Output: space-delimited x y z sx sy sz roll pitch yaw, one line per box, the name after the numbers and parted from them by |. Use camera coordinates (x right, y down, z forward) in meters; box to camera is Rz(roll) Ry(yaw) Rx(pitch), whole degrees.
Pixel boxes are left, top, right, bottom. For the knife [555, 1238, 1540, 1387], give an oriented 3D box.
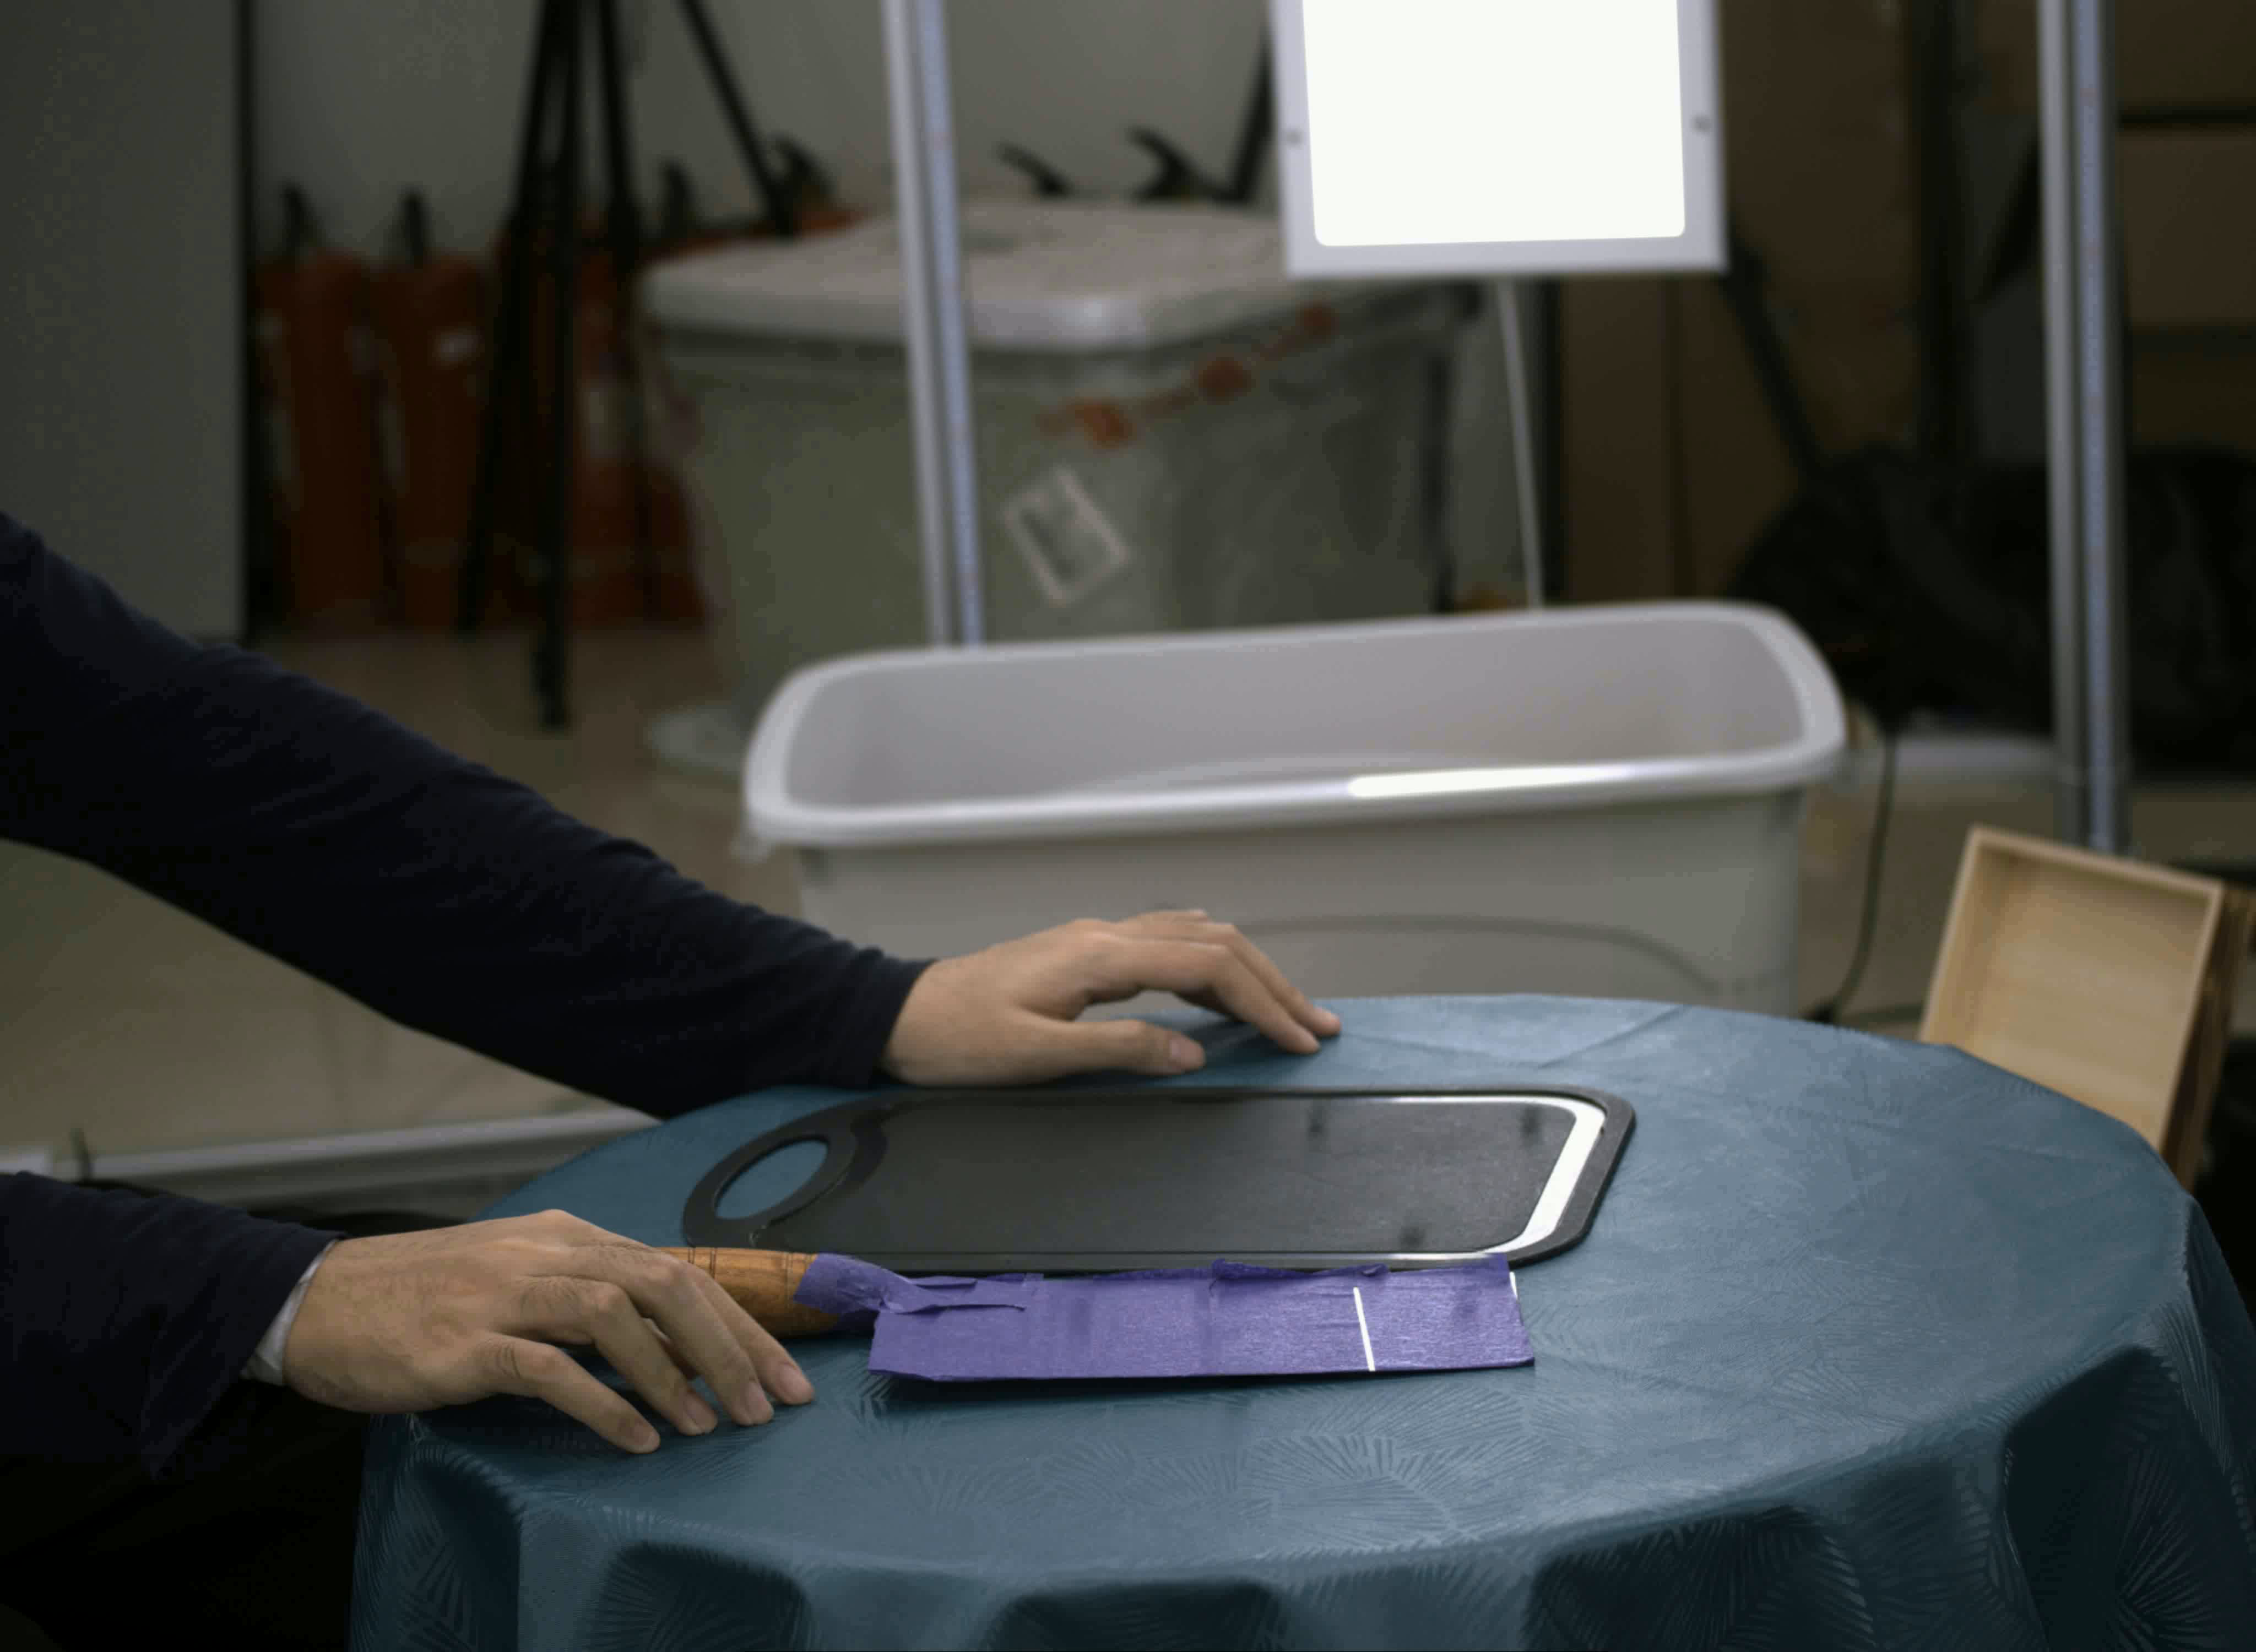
-0.028 0.154 1.744 0.315 0.032 0.103 -4 13 3 | knife

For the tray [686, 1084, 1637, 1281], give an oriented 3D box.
0.008 0.120 1.912 0.329 0.010 0.208 -1 14 16 | tray
